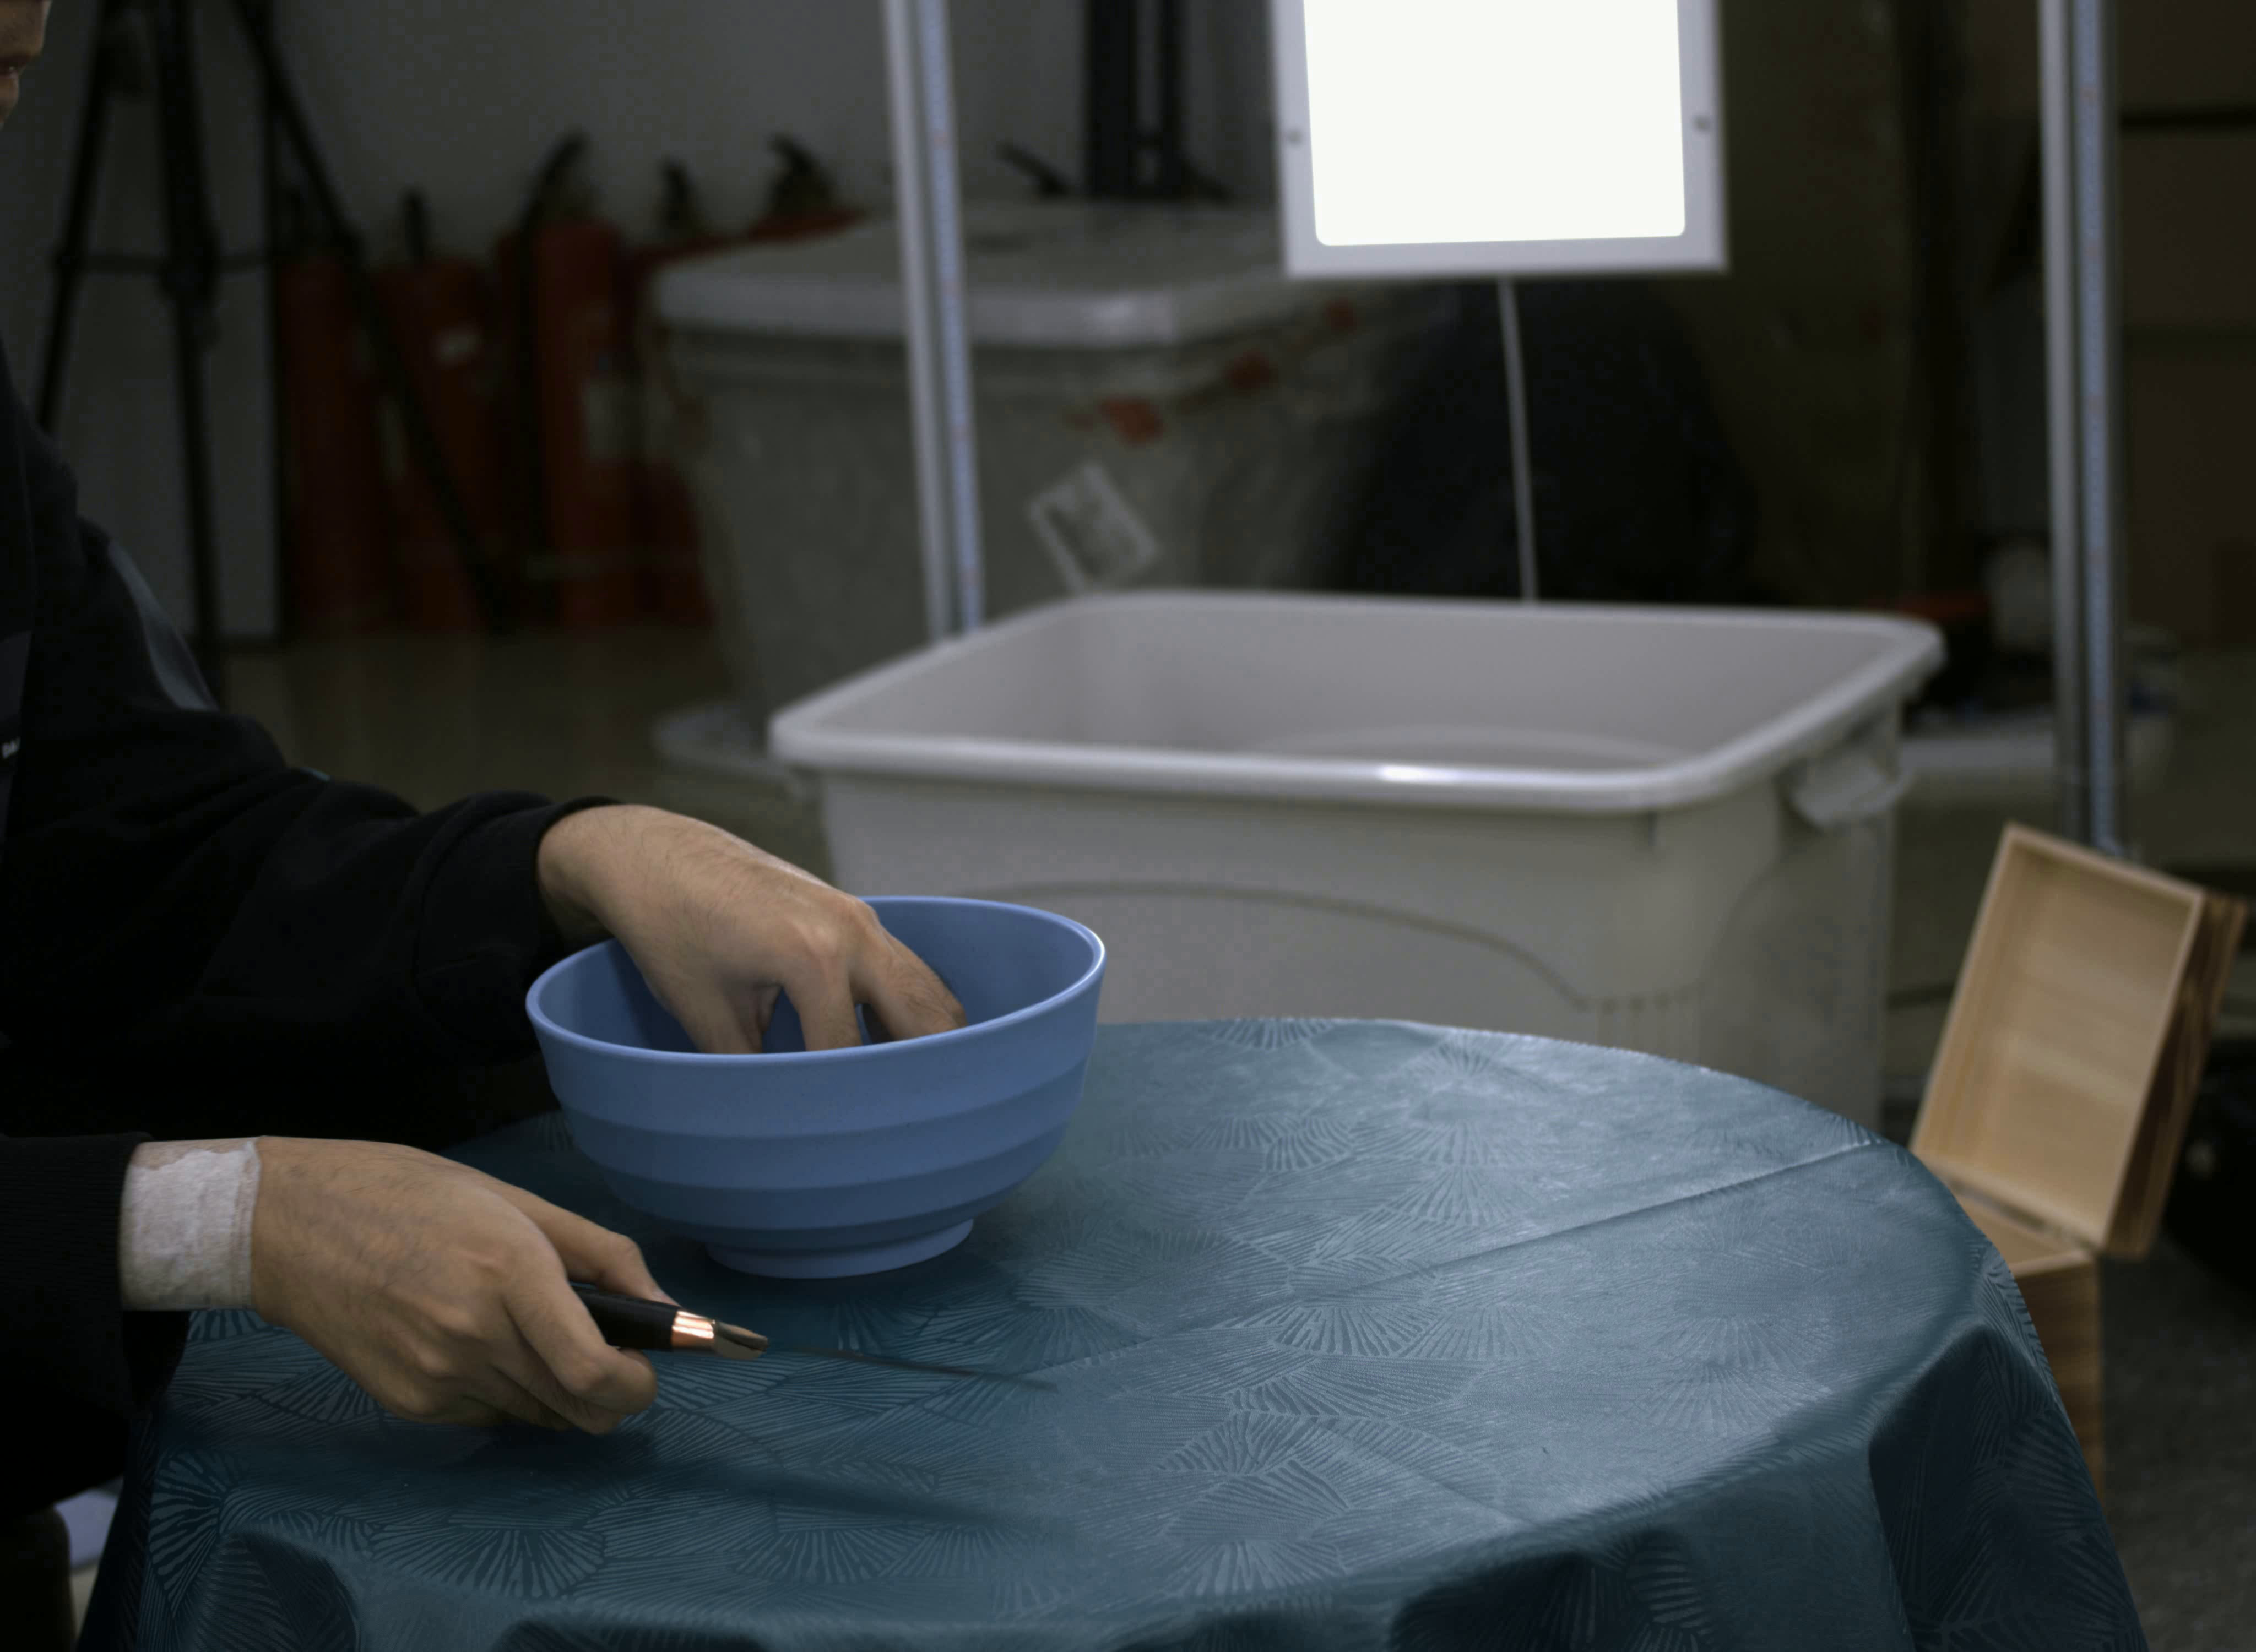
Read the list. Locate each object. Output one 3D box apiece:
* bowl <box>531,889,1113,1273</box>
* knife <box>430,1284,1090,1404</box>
[{"bbox_3d":[-0.102,0.092,1.865,0.196,0.096,0.196,-2,14,-1],"label":"bowl"},{"bbox_3d":[-0.114,0.157,1.663,0.229,0.017,0.026,5,-11,29],"label":"knife"}]
